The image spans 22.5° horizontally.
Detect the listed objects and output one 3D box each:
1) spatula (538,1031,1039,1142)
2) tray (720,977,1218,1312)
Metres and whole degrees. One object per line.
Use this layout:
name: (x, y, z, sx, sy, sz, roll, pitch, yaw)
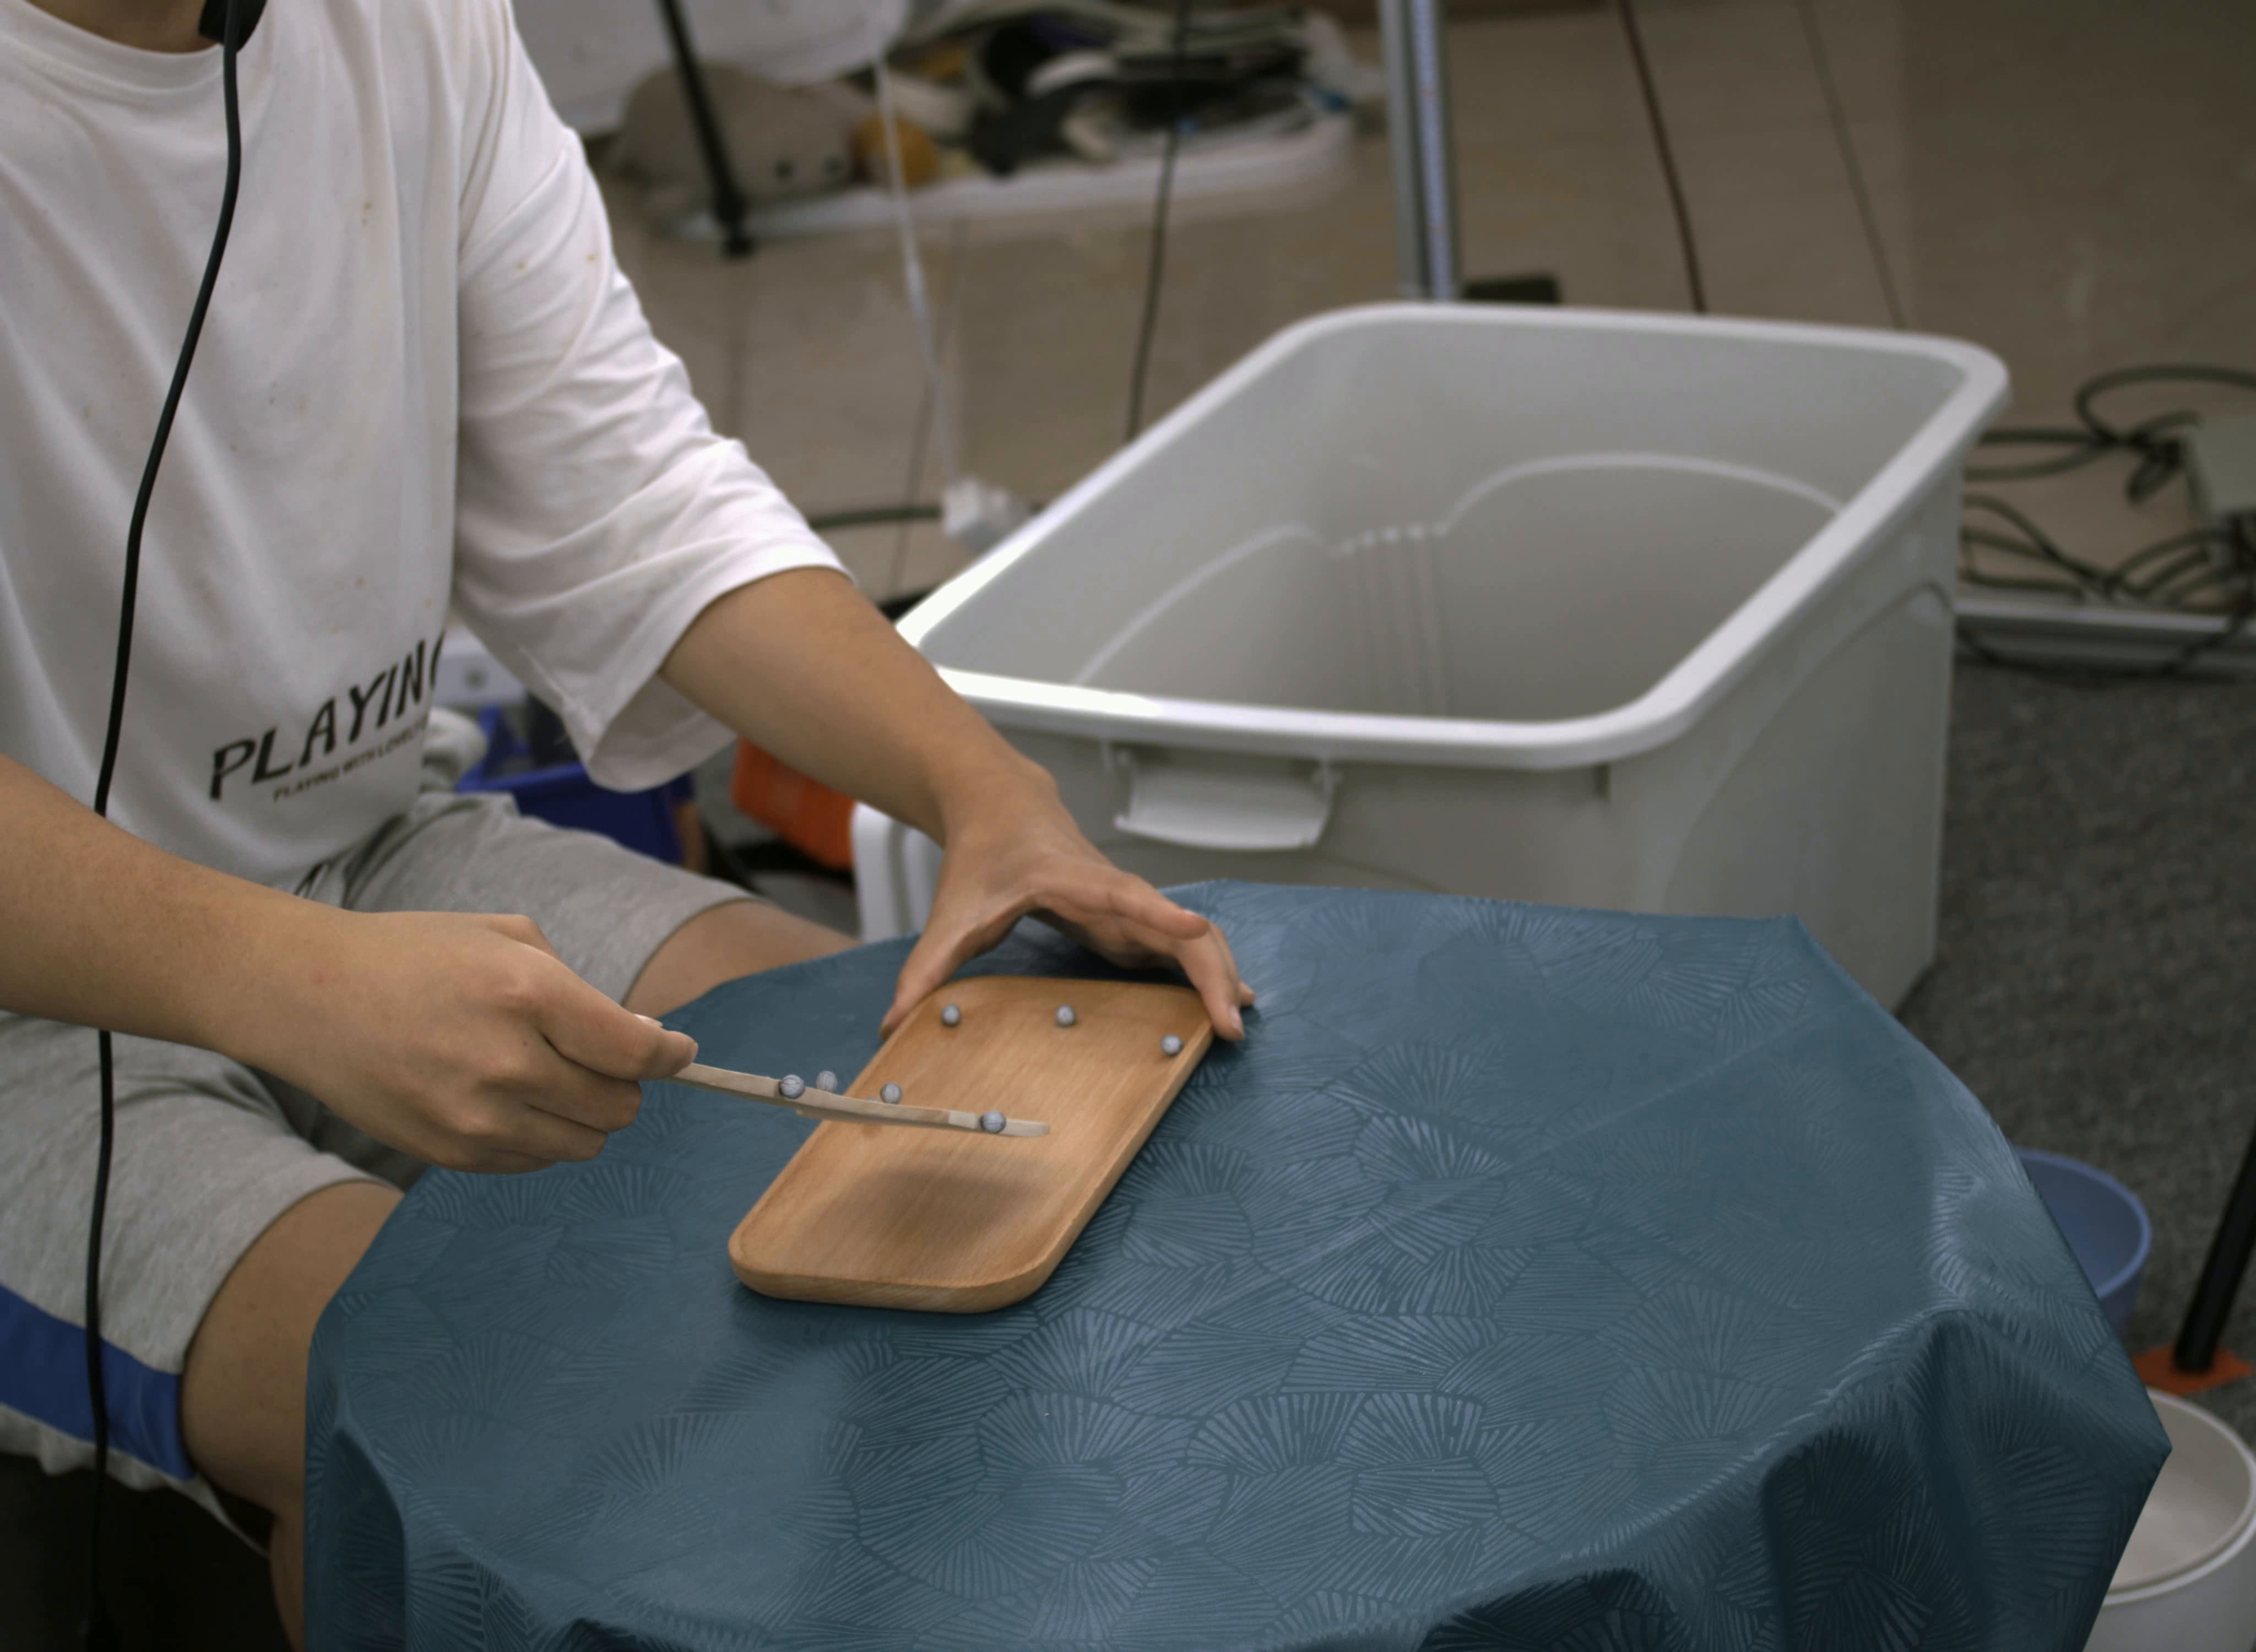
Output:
spatula: (-0.124, 0.095, 2.019, 0.072, 0.010, 0.294, 4, -7, 26)
tray: (-0.057, 0.120, 2.183, 0.130, 0.023, 0.247, 1, 26, 22)
